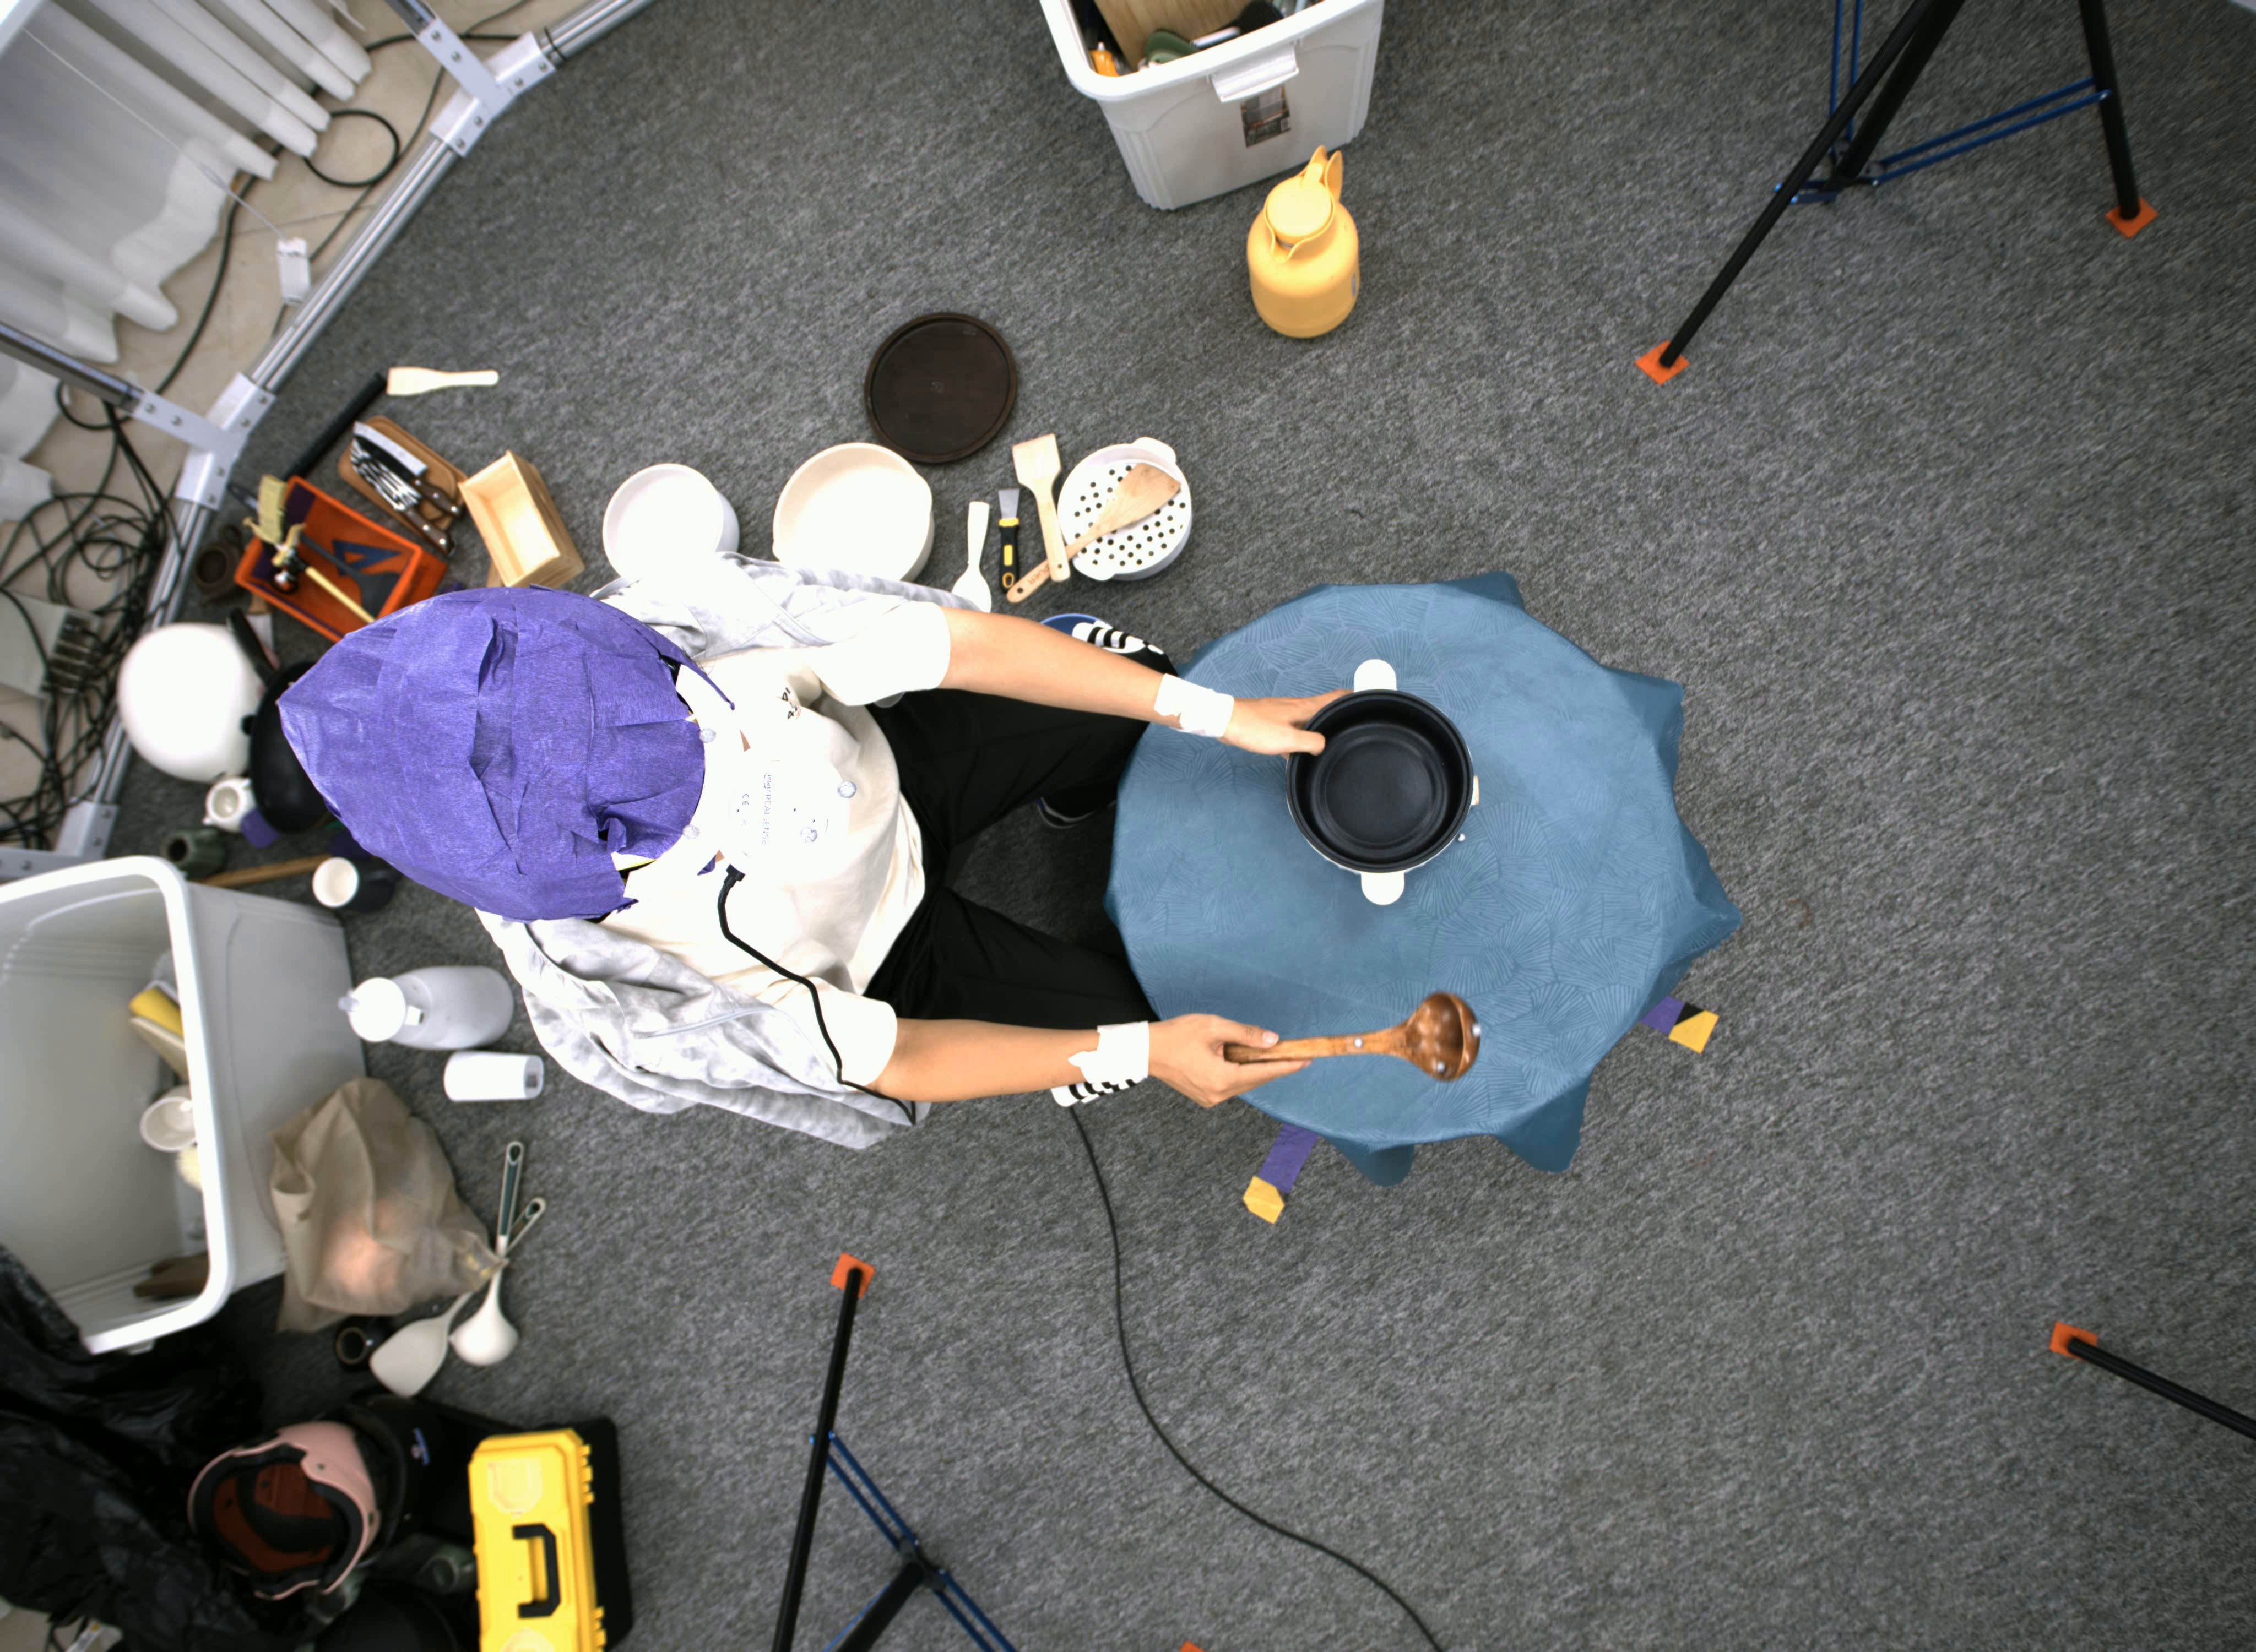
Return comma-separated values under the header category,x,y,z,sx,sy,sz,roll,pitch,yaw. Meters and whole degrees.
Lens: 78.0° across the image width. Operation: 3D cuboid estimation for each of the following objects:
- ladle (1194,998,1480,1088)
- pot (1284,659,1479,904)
category,x,y,z,sx,sy,sz,roll,pitch,yaw
ladle,0.190,0.205,1.297,0.275,0.077,0.081,-4,76,15
pot,0.259,-0.041,1.396,0.191,0.142,0.239,-3,87,13
